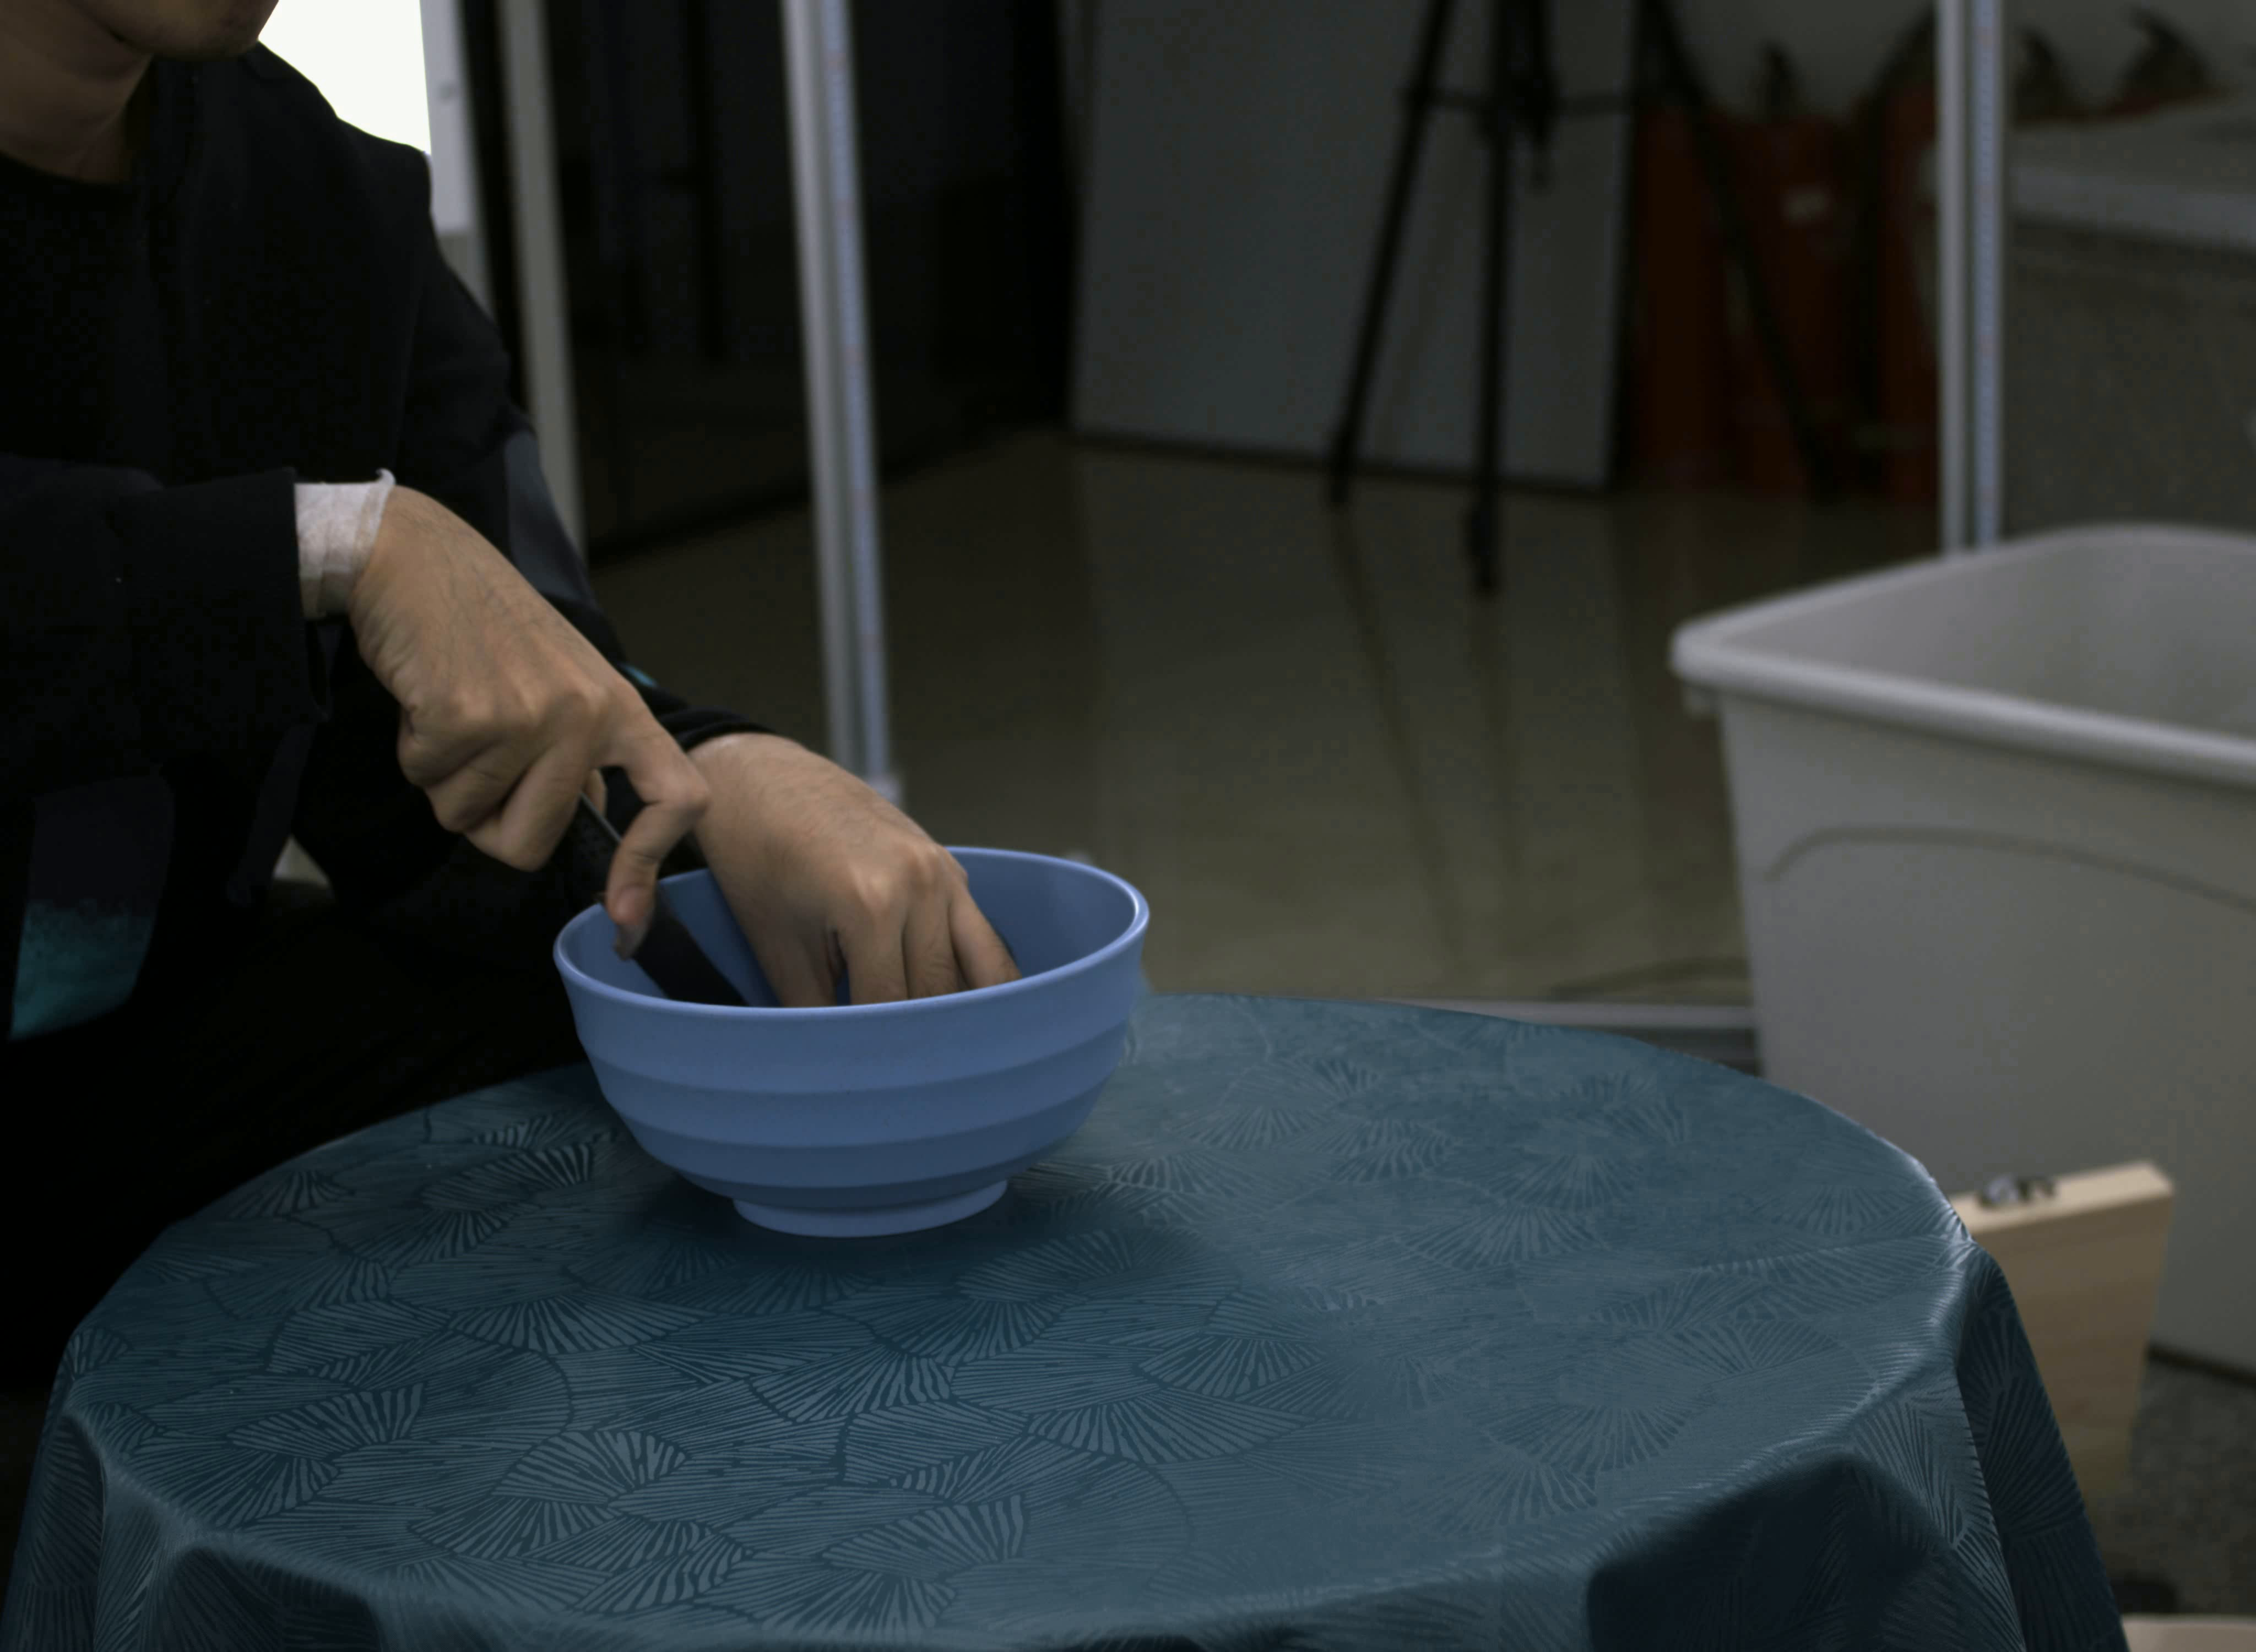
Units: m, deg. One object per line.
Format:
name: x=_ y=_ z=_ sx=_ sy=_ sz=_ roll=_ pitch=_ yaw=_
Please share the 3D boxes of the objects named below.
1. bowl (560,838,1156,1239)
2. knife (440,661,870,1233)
bowl: x=-0.087 y=0.075 z=1.773 sx=0.194 sy=0.096 sz=0.197 roll=-1 pitch=15 yaw=-1
knife: x=-0.150 y=0.039 z=1.752 sx=0.026 sy=0.226 sz=0.017 roll=-40 pitch=-4 yaw=16
